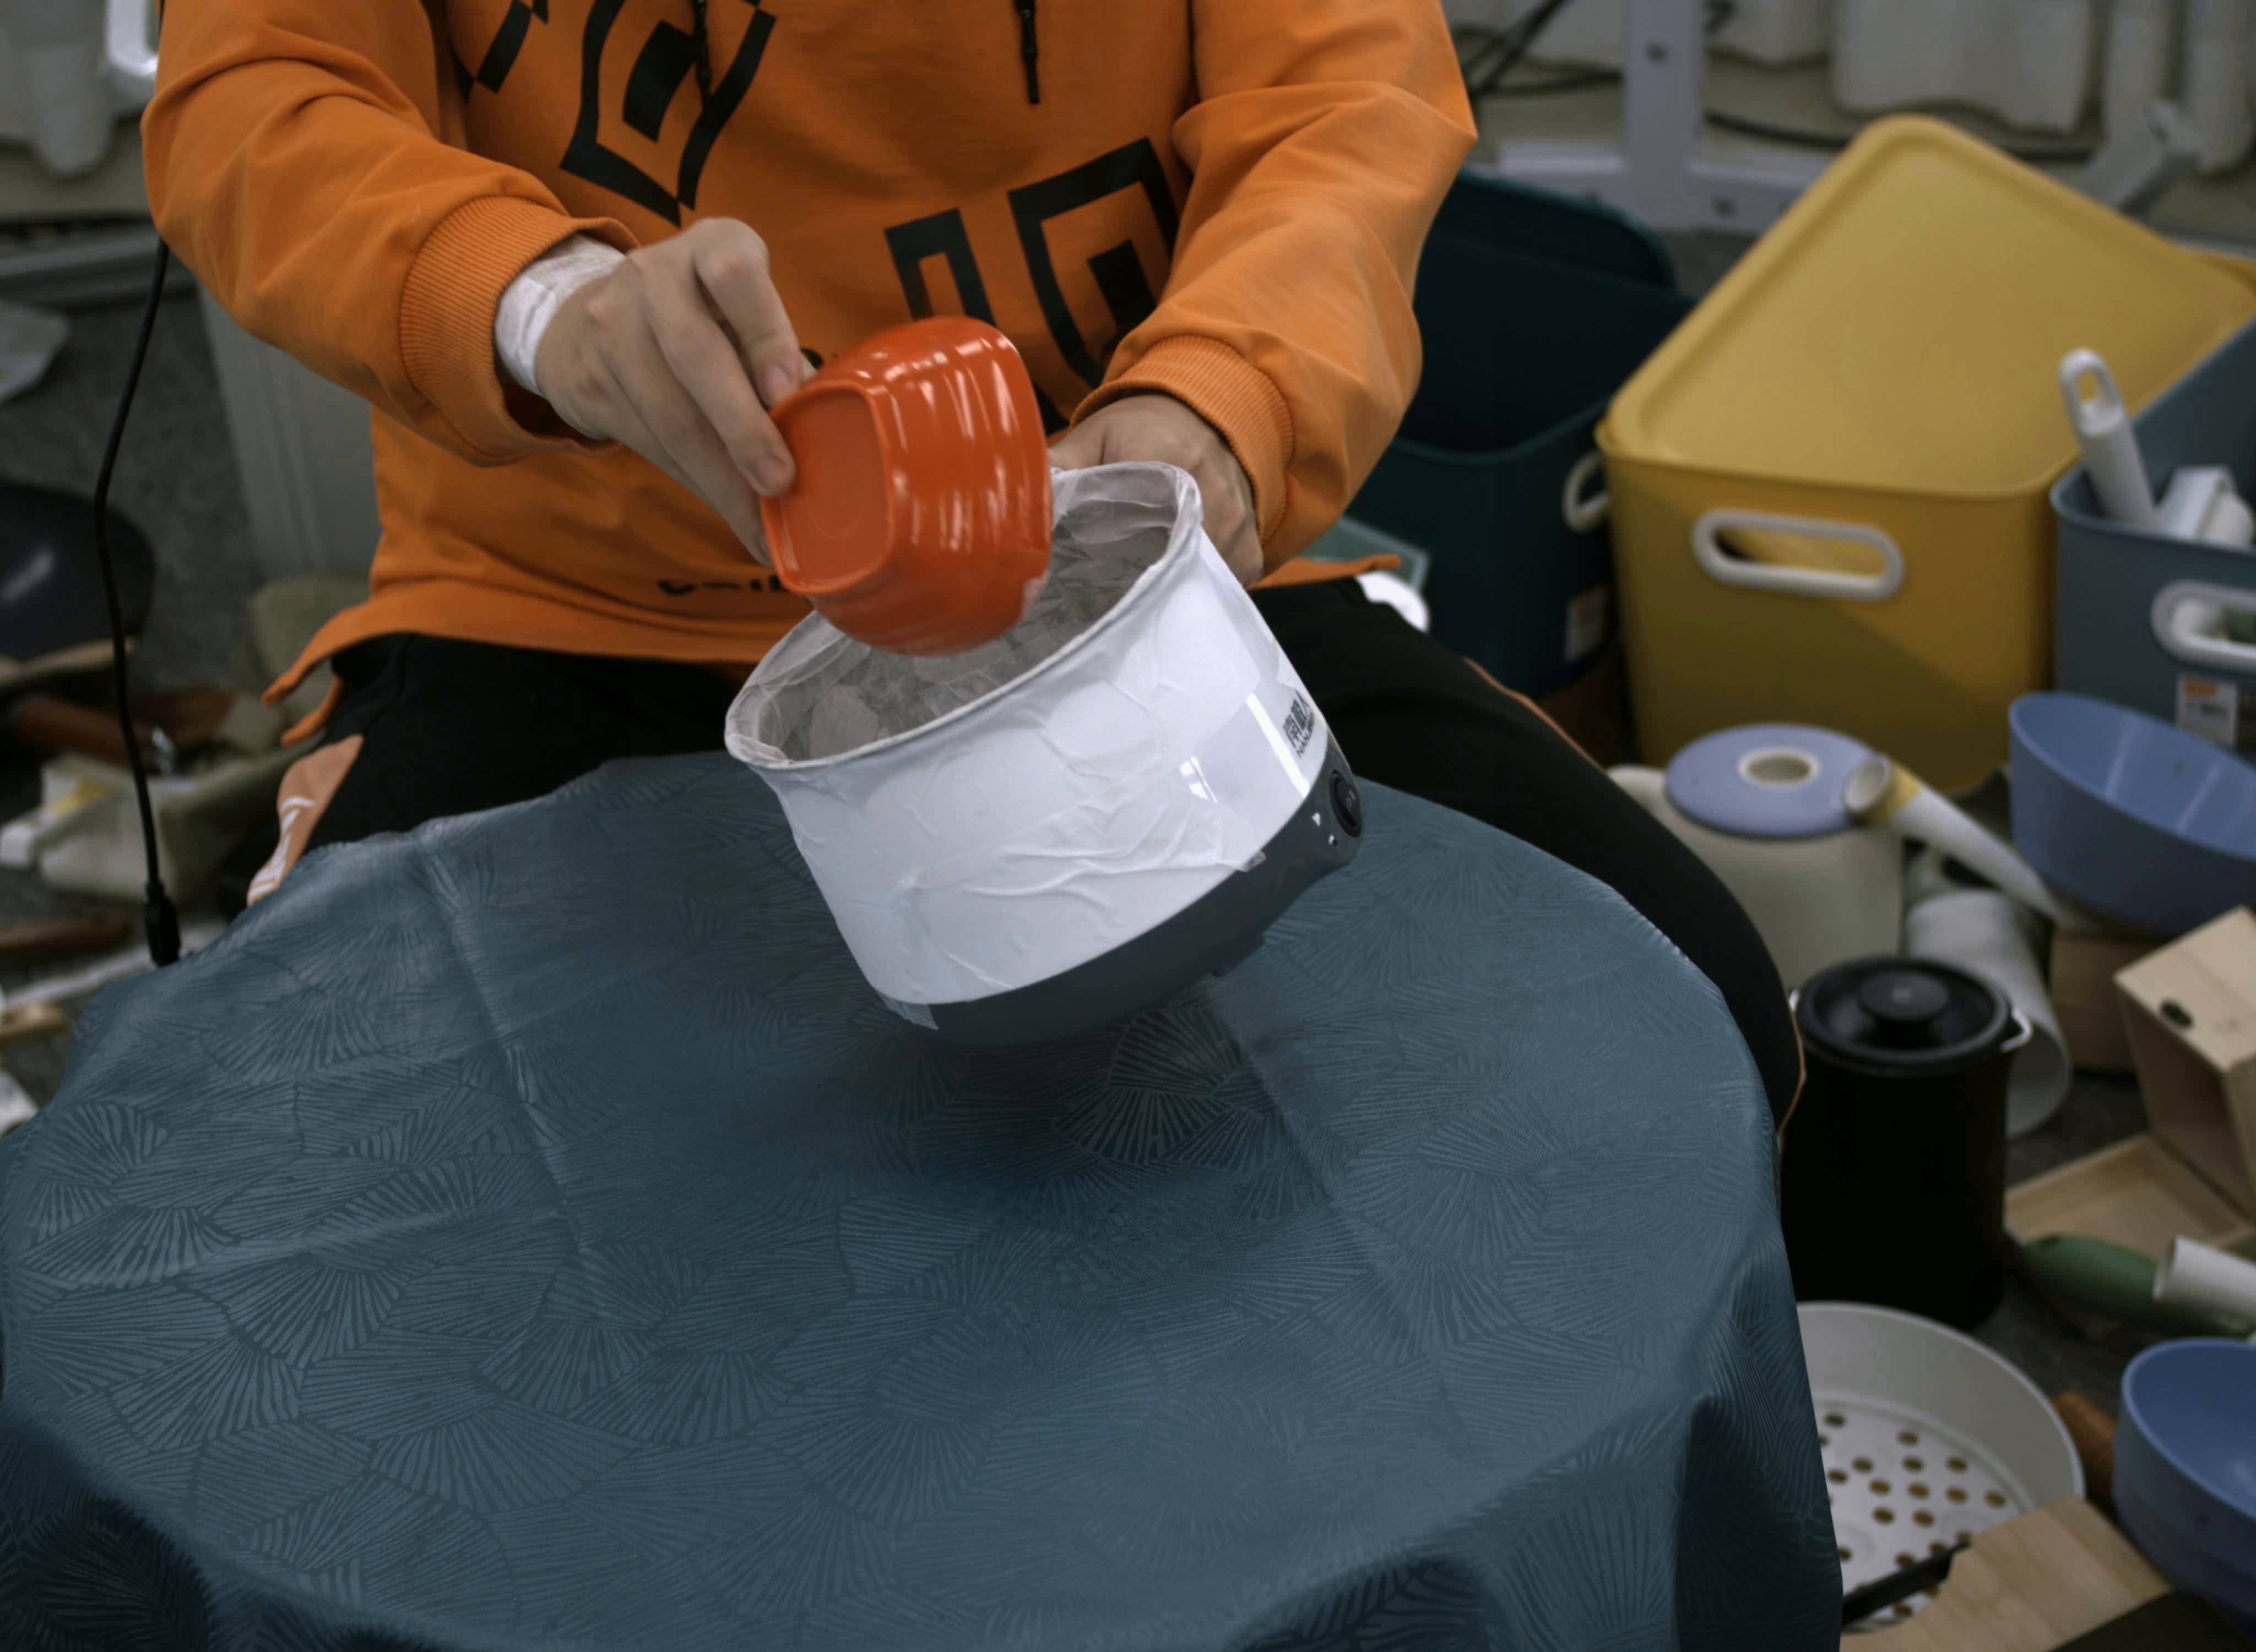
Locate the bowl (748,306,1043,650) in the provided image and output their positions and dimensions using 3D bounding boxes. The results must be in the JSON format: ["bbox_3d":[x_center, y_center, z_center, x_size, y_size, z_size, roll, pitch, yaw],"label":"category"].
[{"bbox_3d":[-0.082,-0.111,1.816,0.051,0.118,0.119,-3,21,-42],"label":"bowl"}]

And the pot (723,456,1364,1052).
[{"bbox_3d":[-0.022,-0.034,1.895,0.177,0.136,0.238,-21,23,20],"label":"pot"}]
